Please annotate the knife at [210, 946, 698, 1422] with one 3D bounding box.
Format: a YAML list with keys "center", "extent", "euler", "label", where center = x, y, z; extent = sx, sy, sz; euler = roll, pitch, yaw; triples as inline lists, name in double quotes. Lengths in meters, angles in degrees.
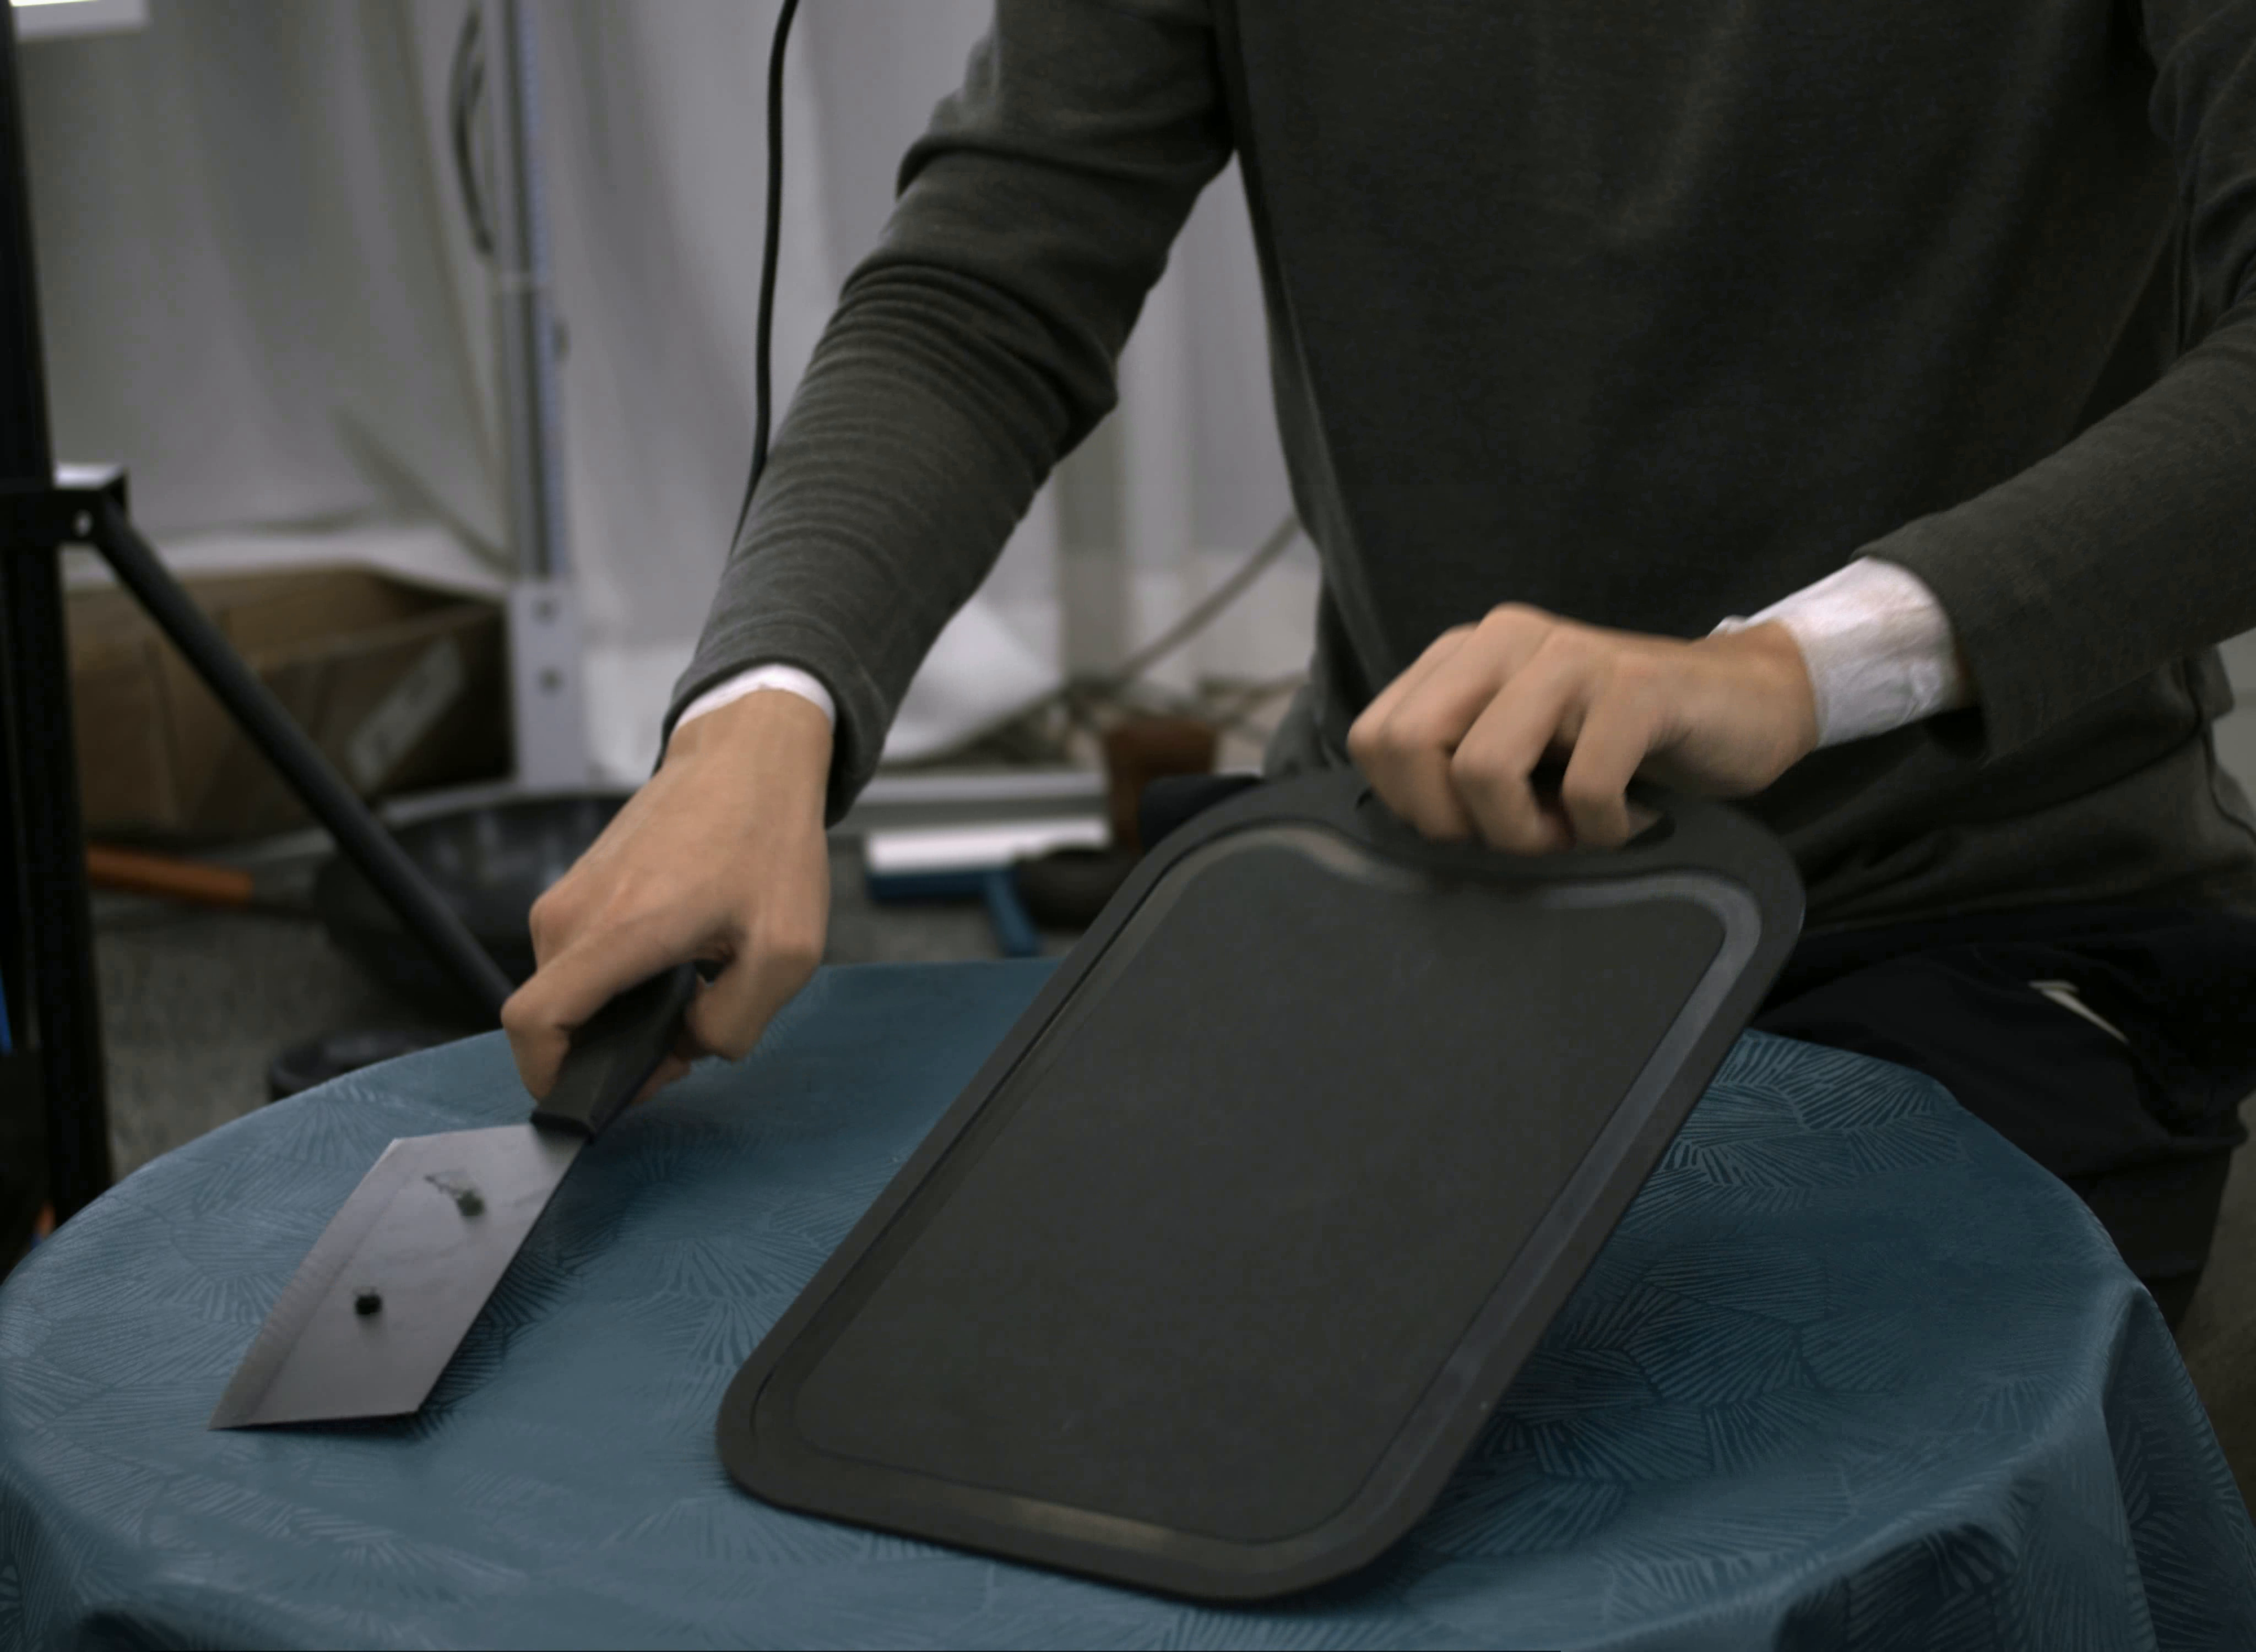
- center: [-0.186, 0.101, 1.542]
  extent: [0.081, 0.021, 0.300]
  euler: [-3, 21, 17]
  label: "knife"

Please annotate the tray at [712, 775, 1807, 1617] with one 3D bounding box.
- center: [0.041, 0.083, 1.406]
  extent: [0.215, 0.009, 0.322]
  euler: [8, 41, 34]
  label: "tray"
